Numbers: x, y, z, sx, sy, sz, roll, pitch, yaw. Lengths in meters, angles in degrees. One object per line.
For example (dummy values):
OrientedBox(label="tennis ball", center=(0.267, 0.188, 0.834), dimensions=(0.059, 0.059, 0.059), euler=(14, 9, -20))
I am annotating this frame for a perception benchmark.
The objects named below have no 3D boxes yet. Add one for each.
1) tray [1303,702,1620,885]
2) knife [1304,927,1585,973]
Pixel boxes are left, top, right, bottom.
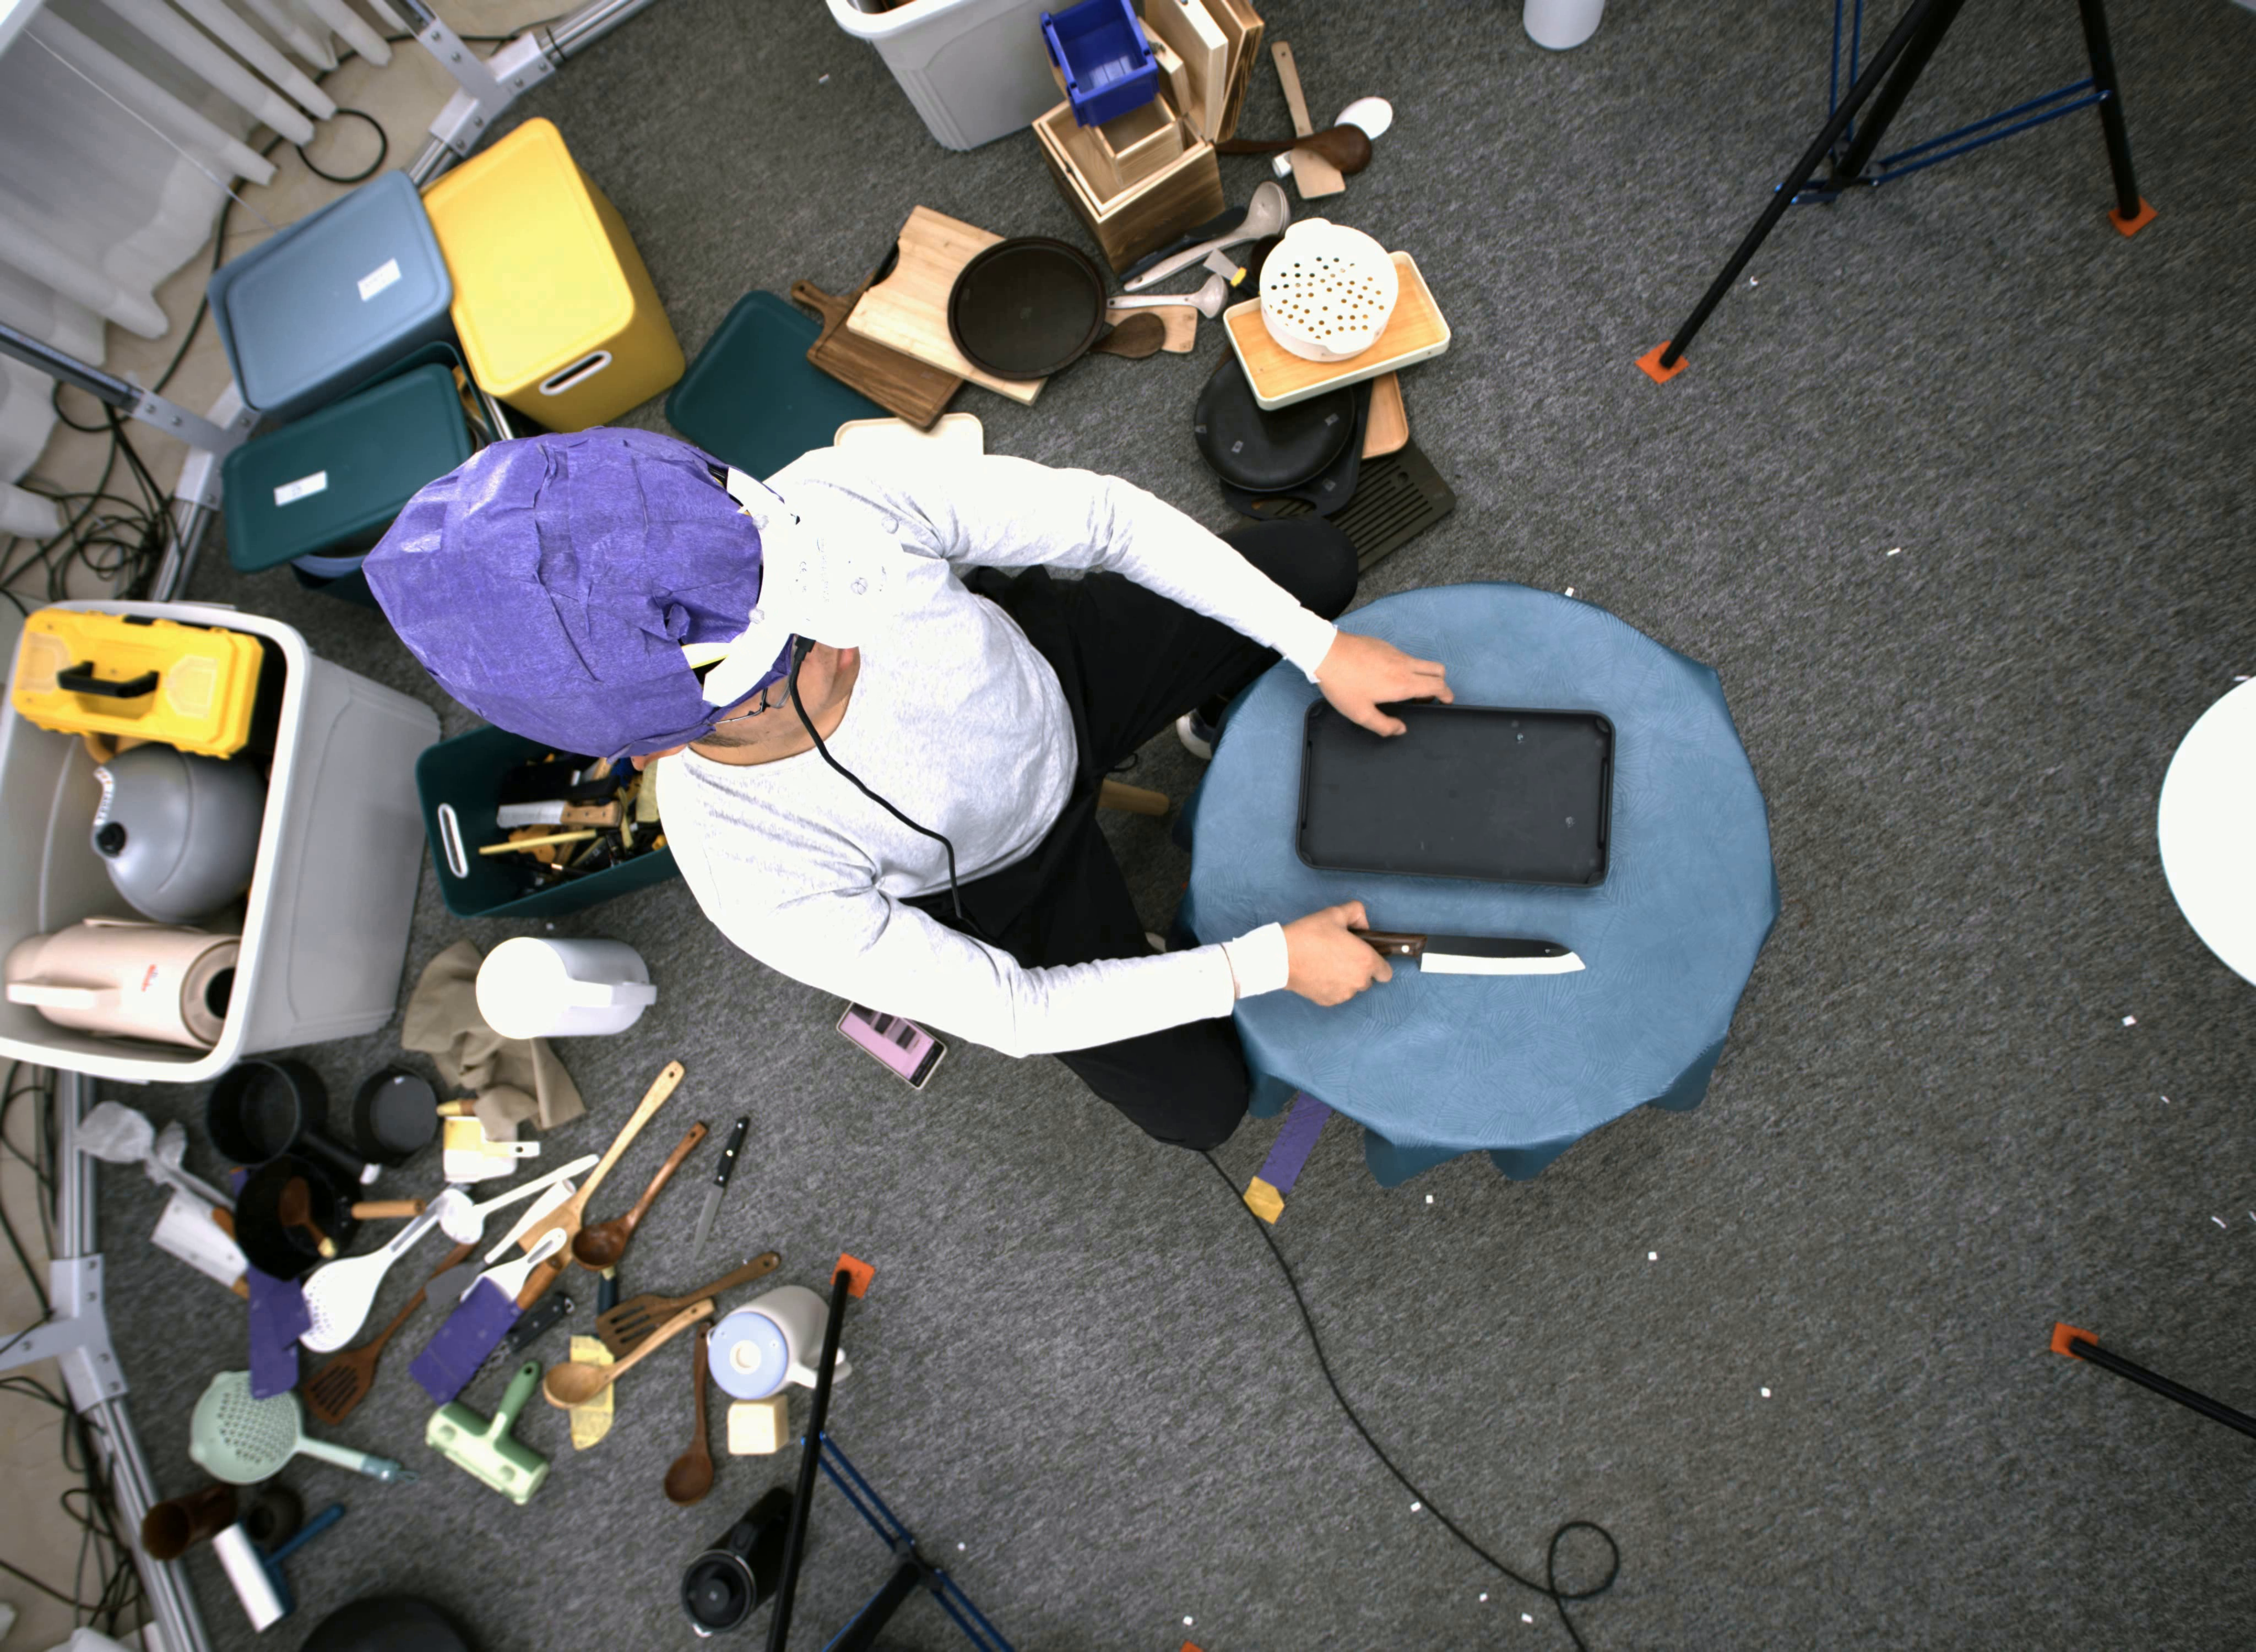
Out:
OrientedBox(label="tray", center=(0.345, -0.036, 1.434), dimensions=(0.319, 0.037, 0.183), euler=(2, 87, 11))
OrientedBox(label="knife", center=(0.328, 0.128, 1.432), dimensions=(0.290, 0.019, 0.051), euler=(4, 117, 8))
